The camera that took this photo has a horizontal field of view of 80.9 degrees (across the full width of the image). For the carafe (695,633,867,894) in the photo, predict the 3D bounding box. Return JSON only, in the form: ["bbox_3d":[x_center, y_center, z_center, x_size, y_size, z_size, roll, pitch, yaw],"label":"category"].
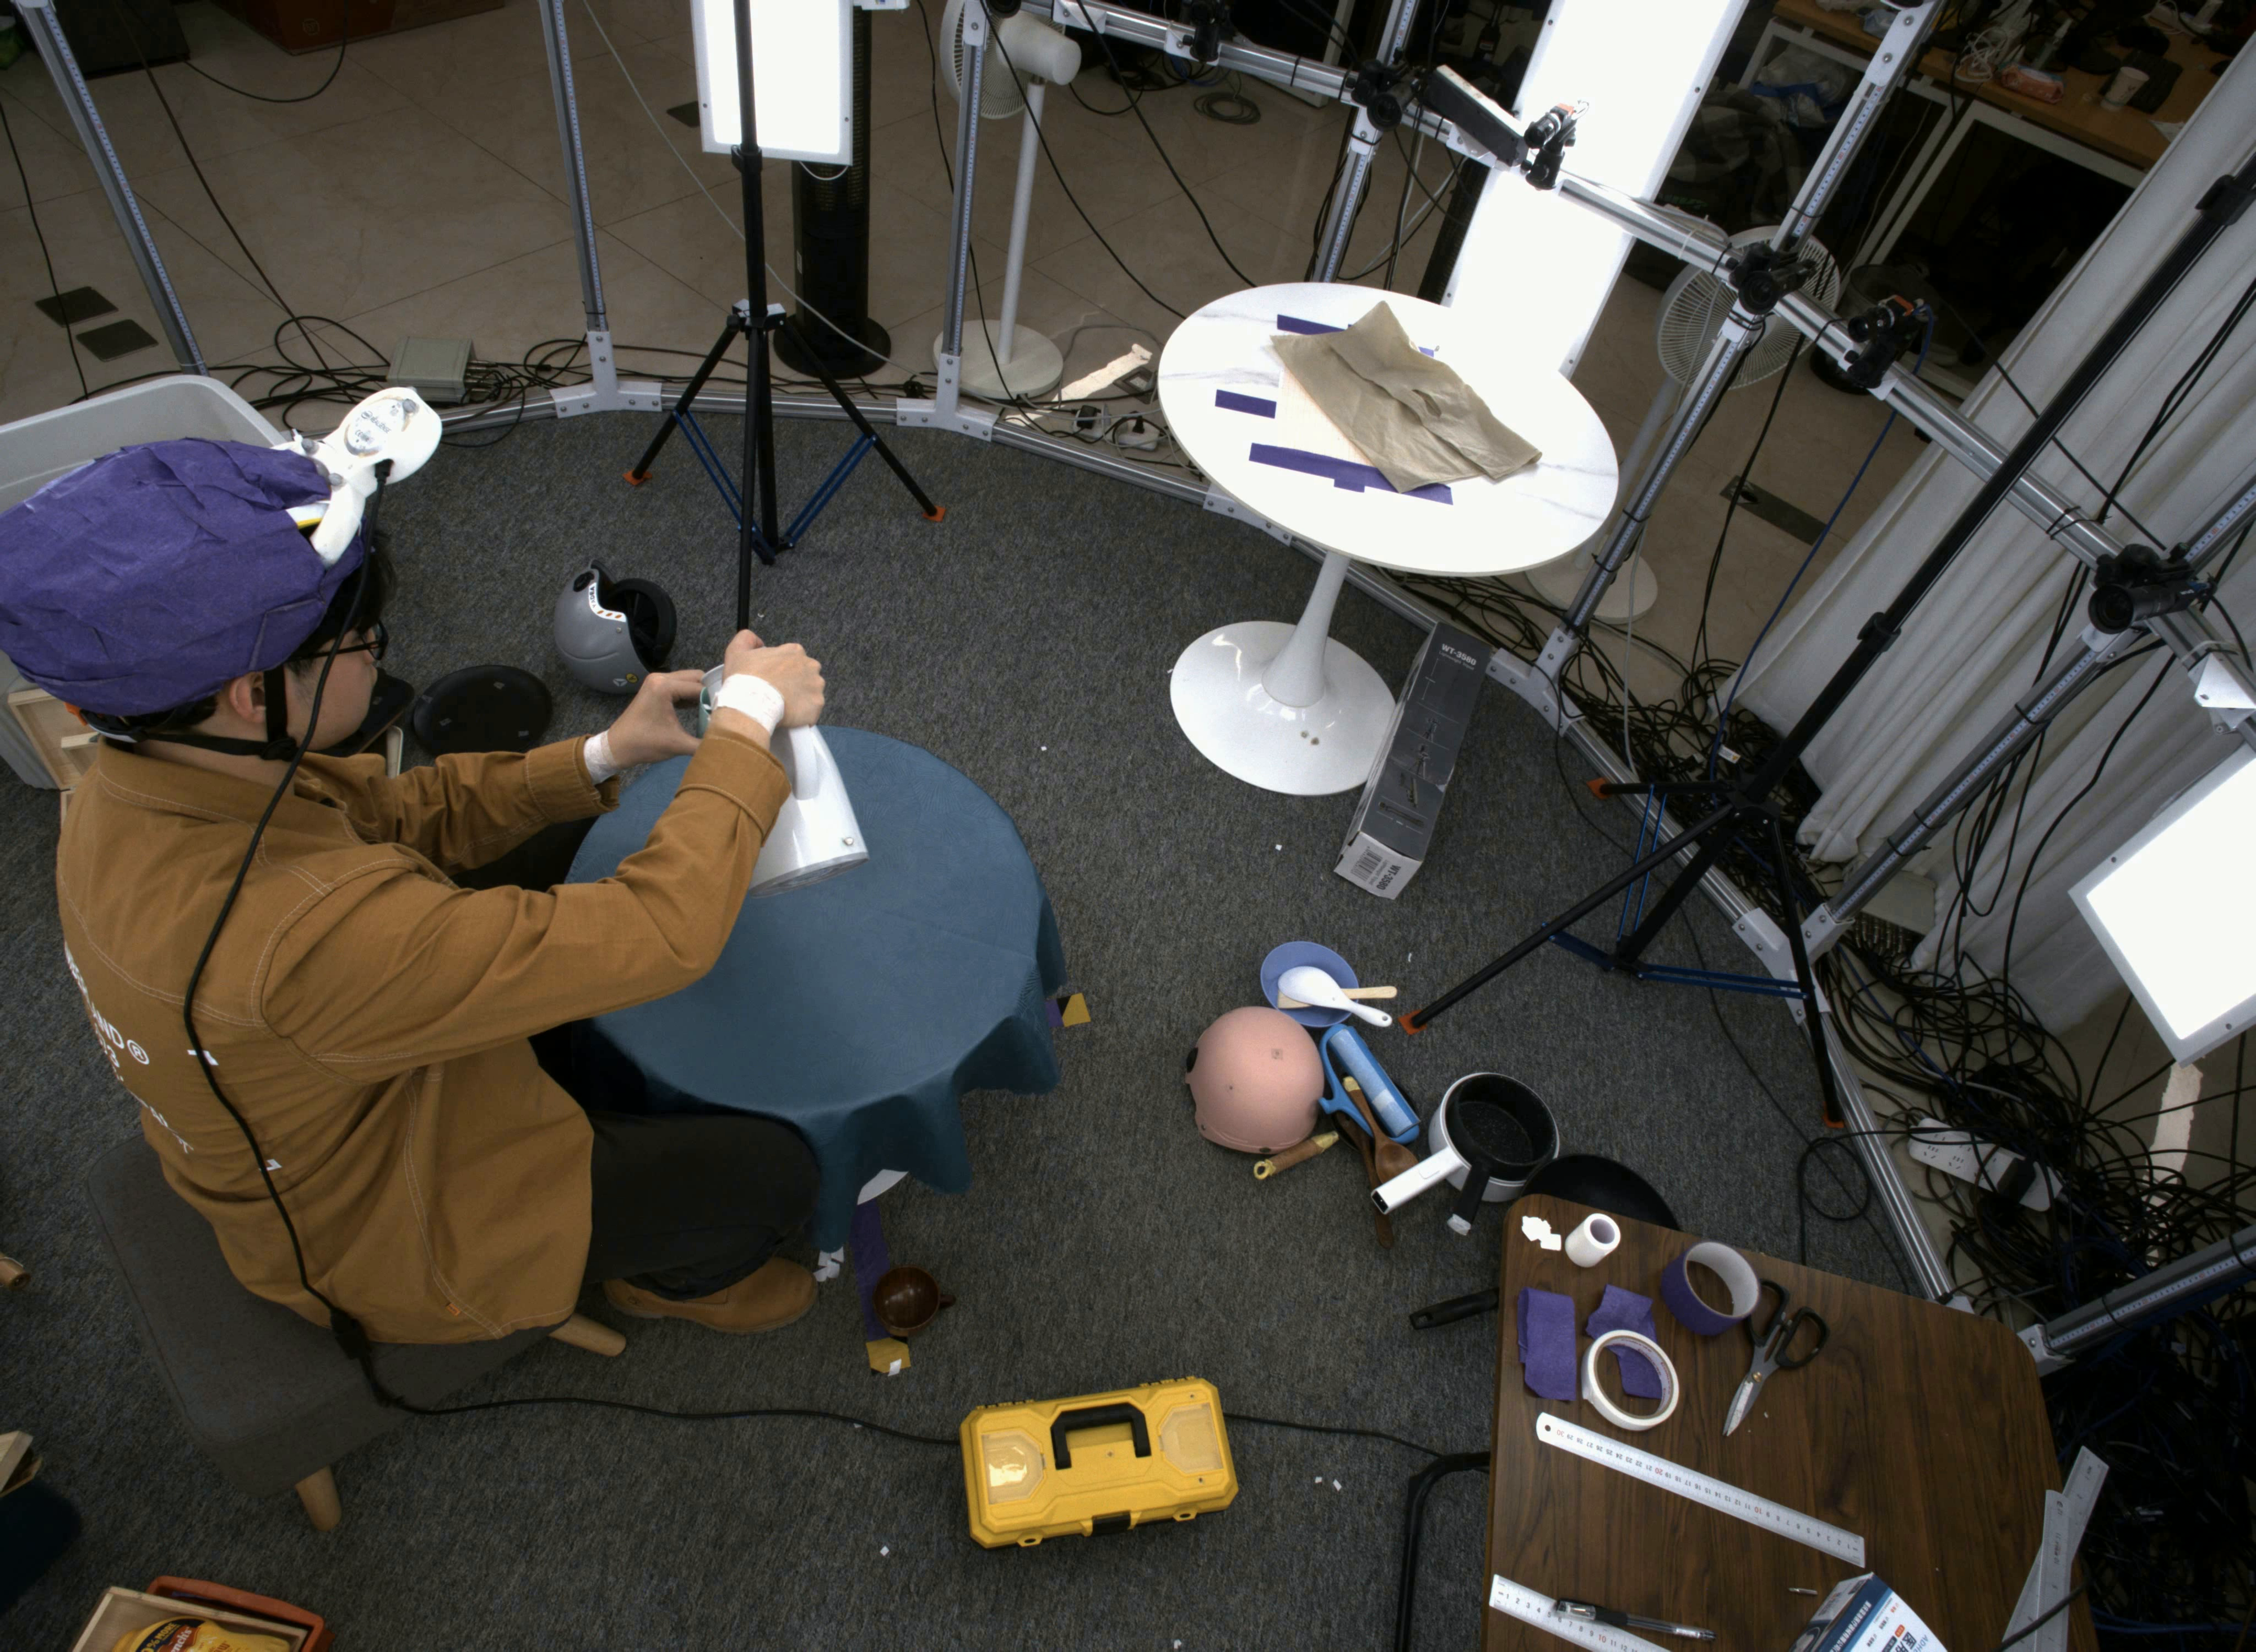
[{"bbox_3d":[-0.370,-0.073,1.362,0.134,0.165,0.251,-18,88,-36],"label":"carafe"}]

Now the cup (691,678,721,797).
[{"bbox_3d":[-0.472,-0.103,1.488,0.067,0.134,0.065,12,45,-11],"label":"cup"}]
